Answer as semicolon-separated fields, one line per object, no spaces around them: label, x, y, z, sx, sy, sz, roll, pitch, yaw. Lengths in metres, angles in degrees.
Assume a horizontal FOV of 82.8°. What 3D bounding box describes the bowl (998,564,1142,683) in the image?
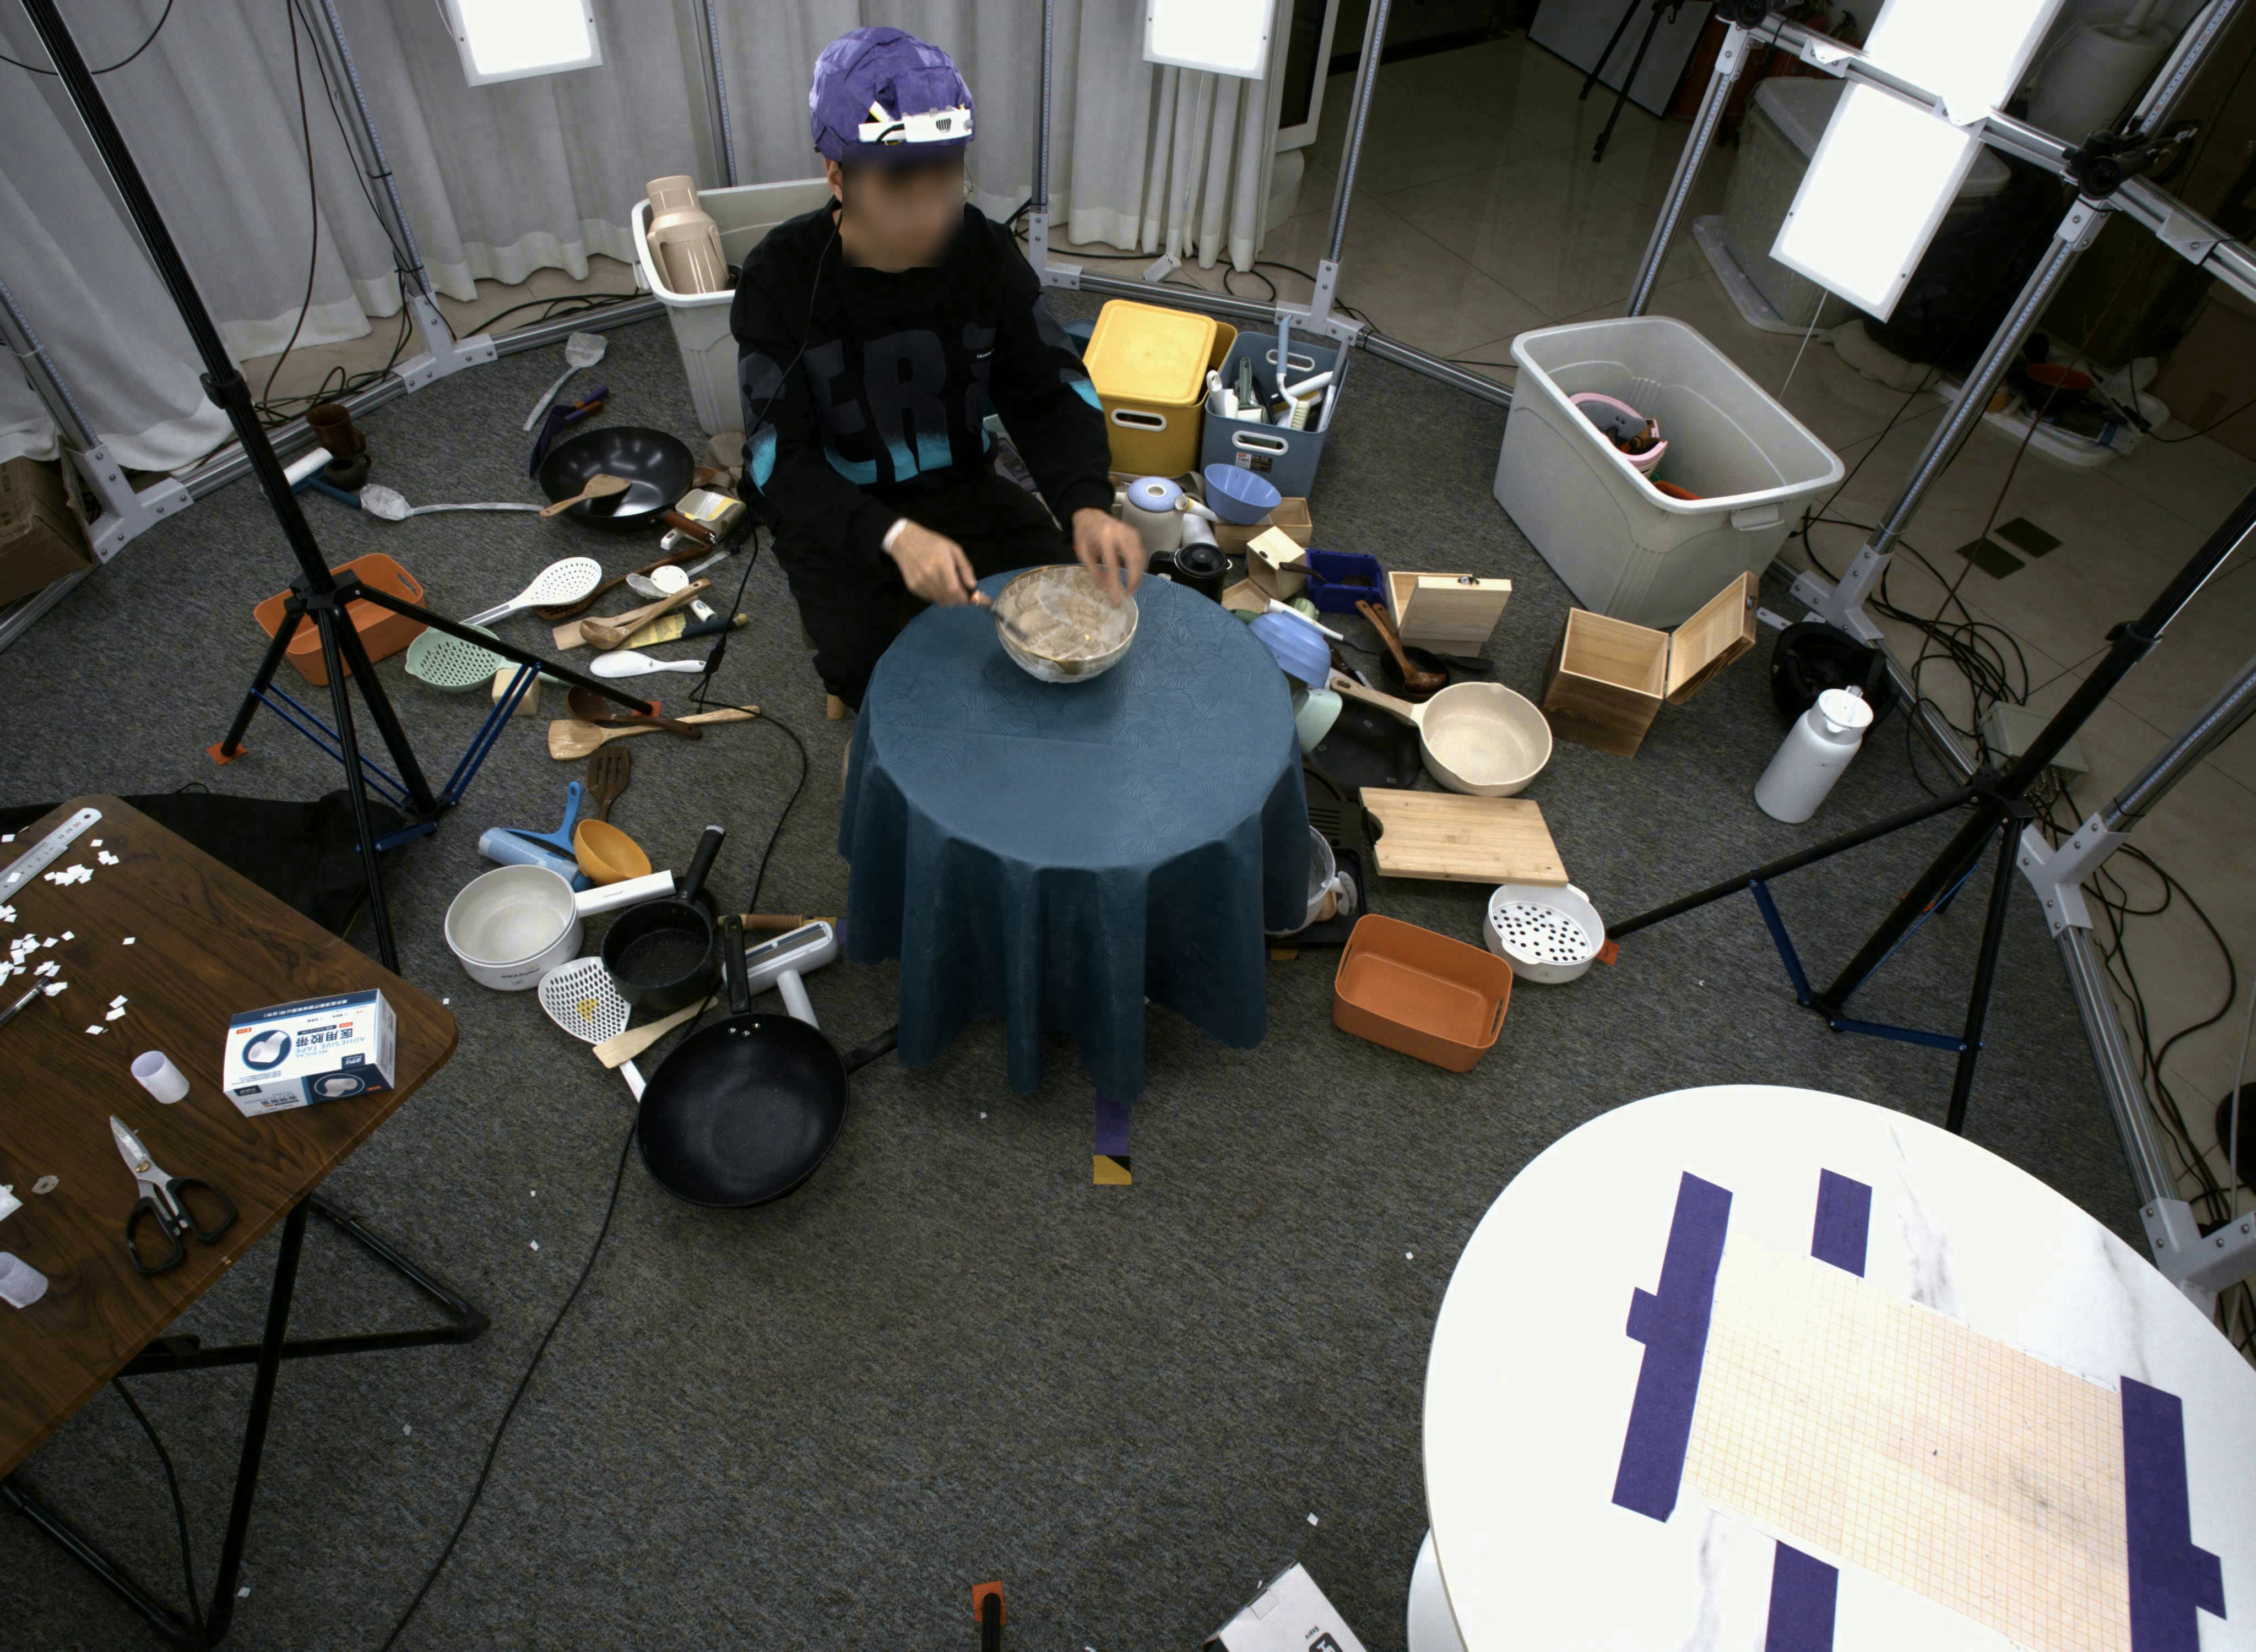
bowl;-0.086;-0.277;1.842;0.214;0.092;0.220;1;50;-2

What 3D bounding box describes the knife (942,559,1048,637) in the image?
knife;-0.179;-0.303;1.711;0.026;0.017;0.230;-10;39;-41
